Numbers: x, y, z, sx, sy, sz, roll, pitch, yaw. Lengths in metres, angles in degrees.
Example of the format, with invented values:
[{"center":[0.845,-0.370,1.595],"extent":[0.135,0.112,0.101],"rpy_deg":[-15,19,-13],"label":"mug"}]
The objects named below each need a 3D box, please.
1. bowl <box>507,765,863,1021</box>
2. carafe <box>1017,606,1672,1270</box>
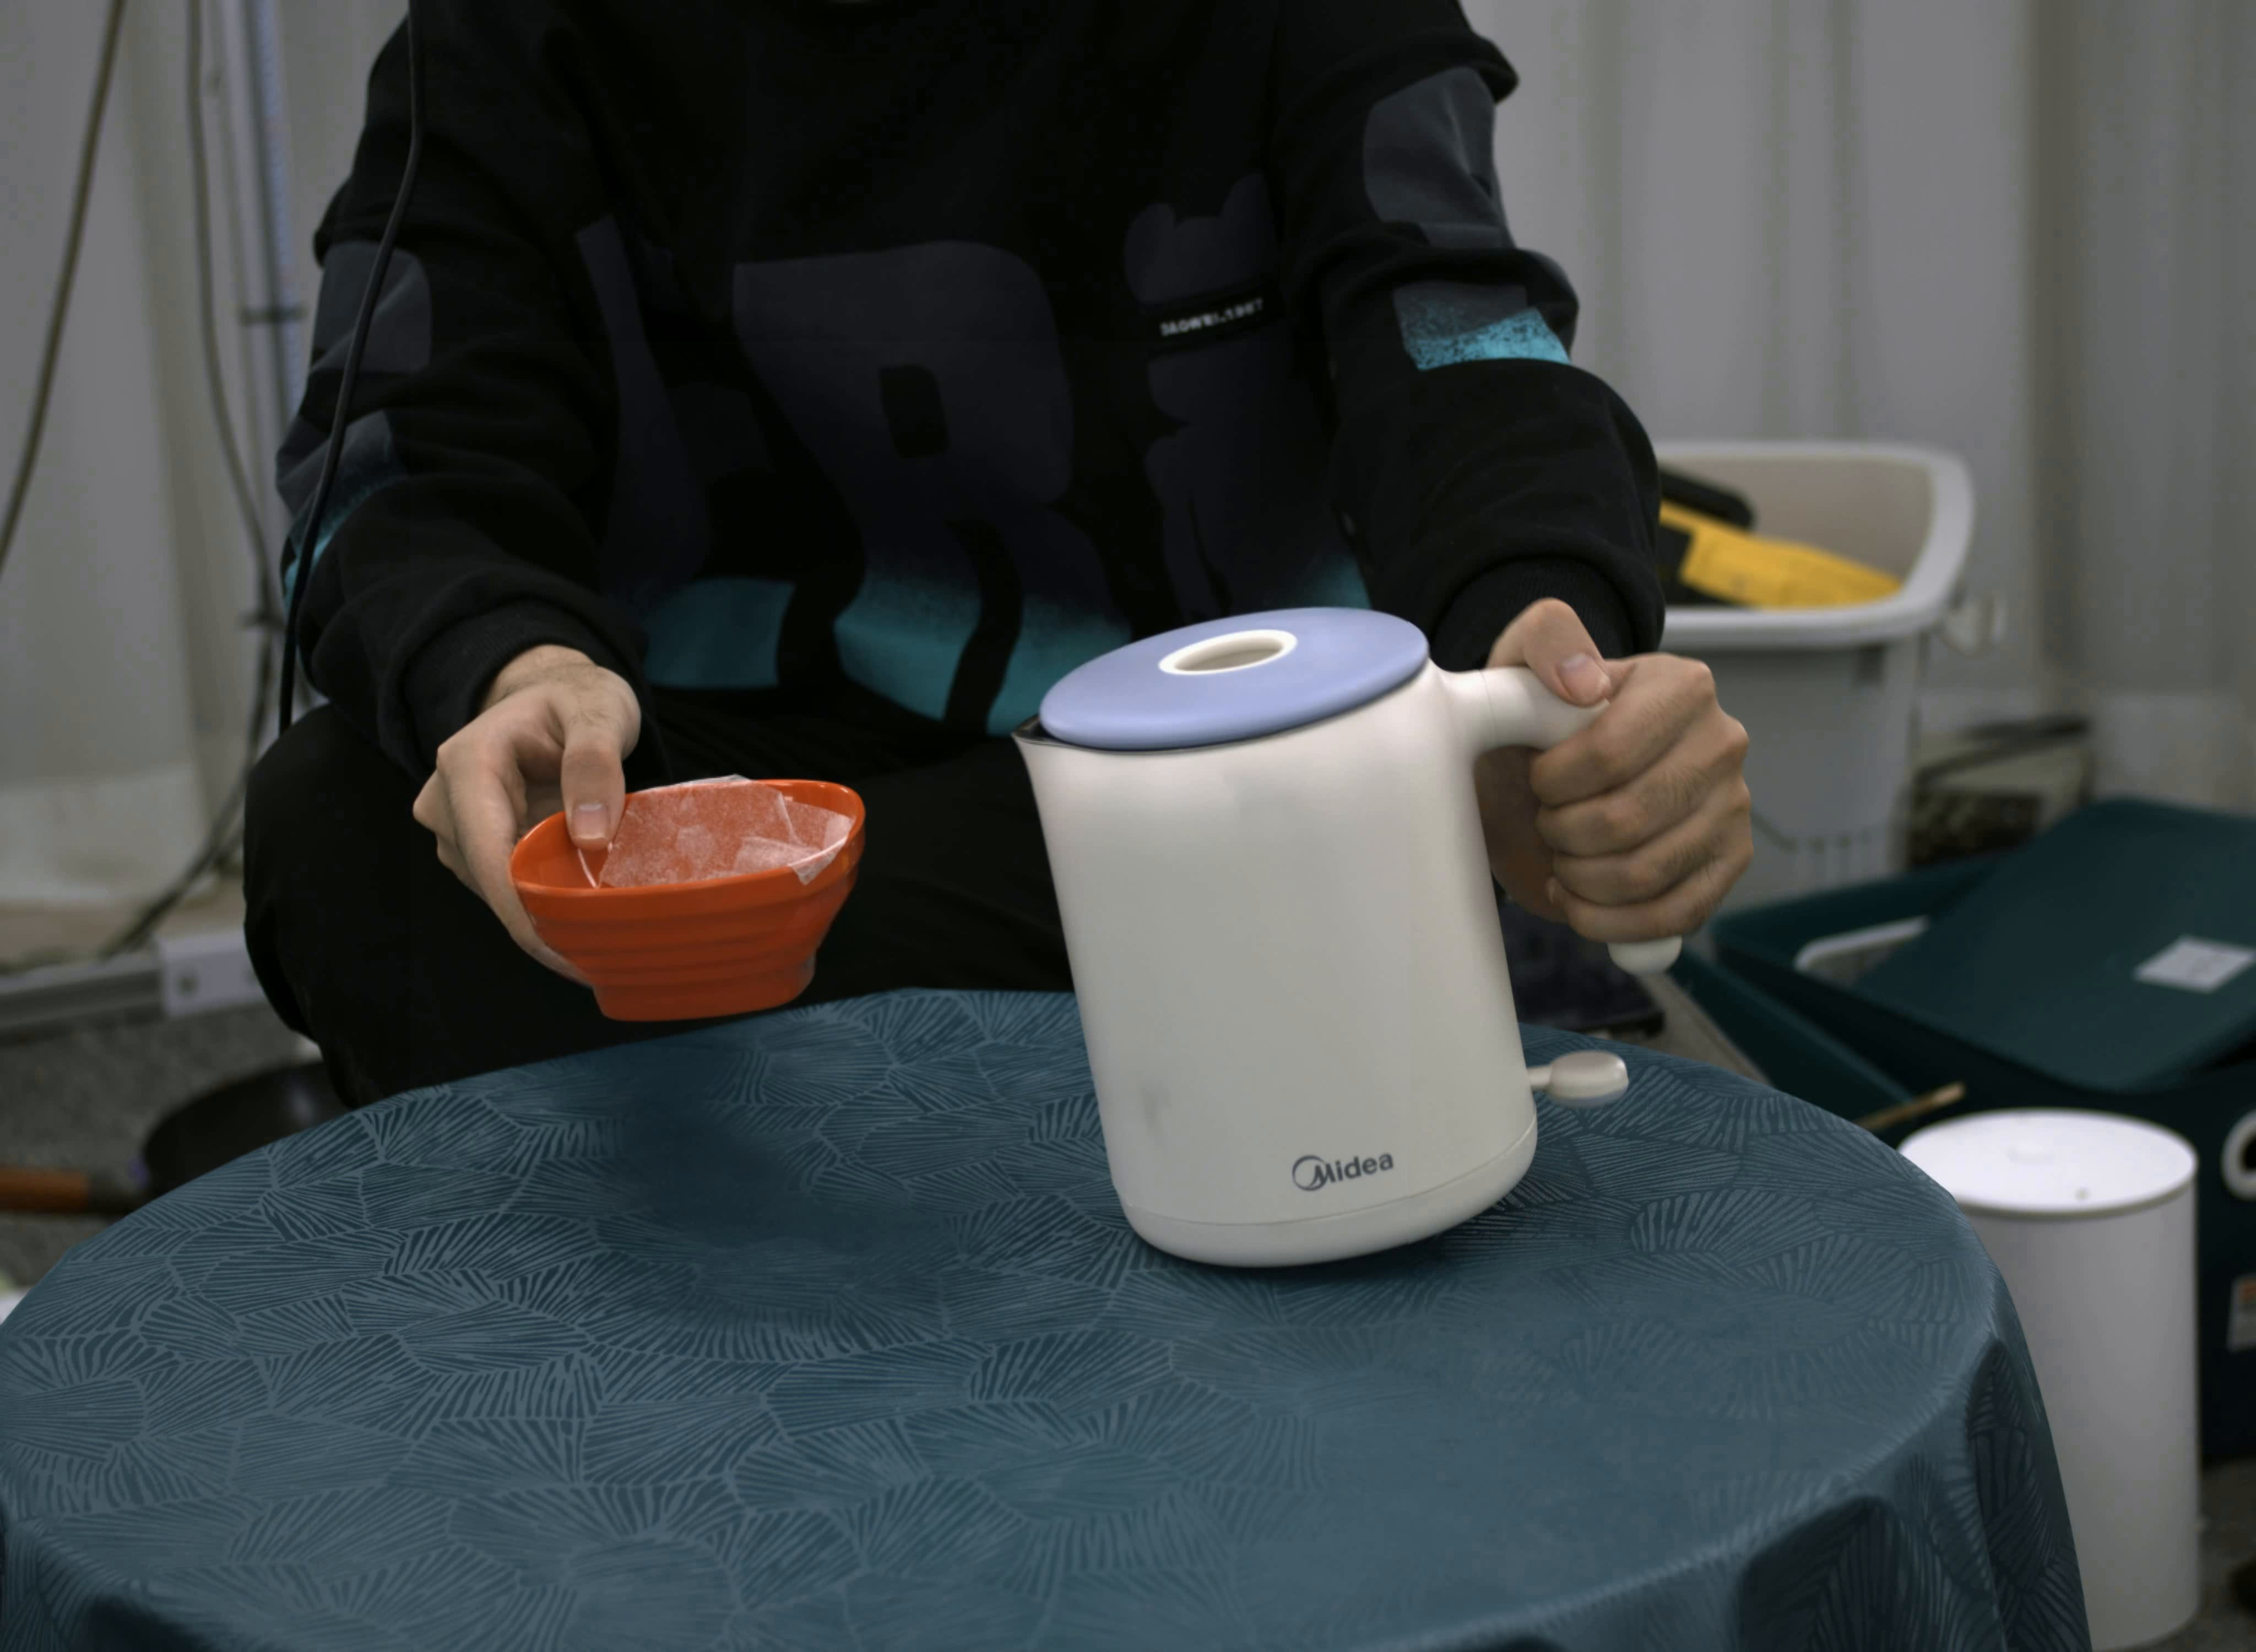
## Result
[{"center":[-0.133,0.023,1.694],"extent":[0.118,0.051,0.120],"rpy_deg":[-8,19,2],"label":"bowl"},{"center":[0.070,0.029,1.659],"extent":[0.190,0.181,0.133],"rpy_deg":[-9,16,-5],"label":"carafe"}]
